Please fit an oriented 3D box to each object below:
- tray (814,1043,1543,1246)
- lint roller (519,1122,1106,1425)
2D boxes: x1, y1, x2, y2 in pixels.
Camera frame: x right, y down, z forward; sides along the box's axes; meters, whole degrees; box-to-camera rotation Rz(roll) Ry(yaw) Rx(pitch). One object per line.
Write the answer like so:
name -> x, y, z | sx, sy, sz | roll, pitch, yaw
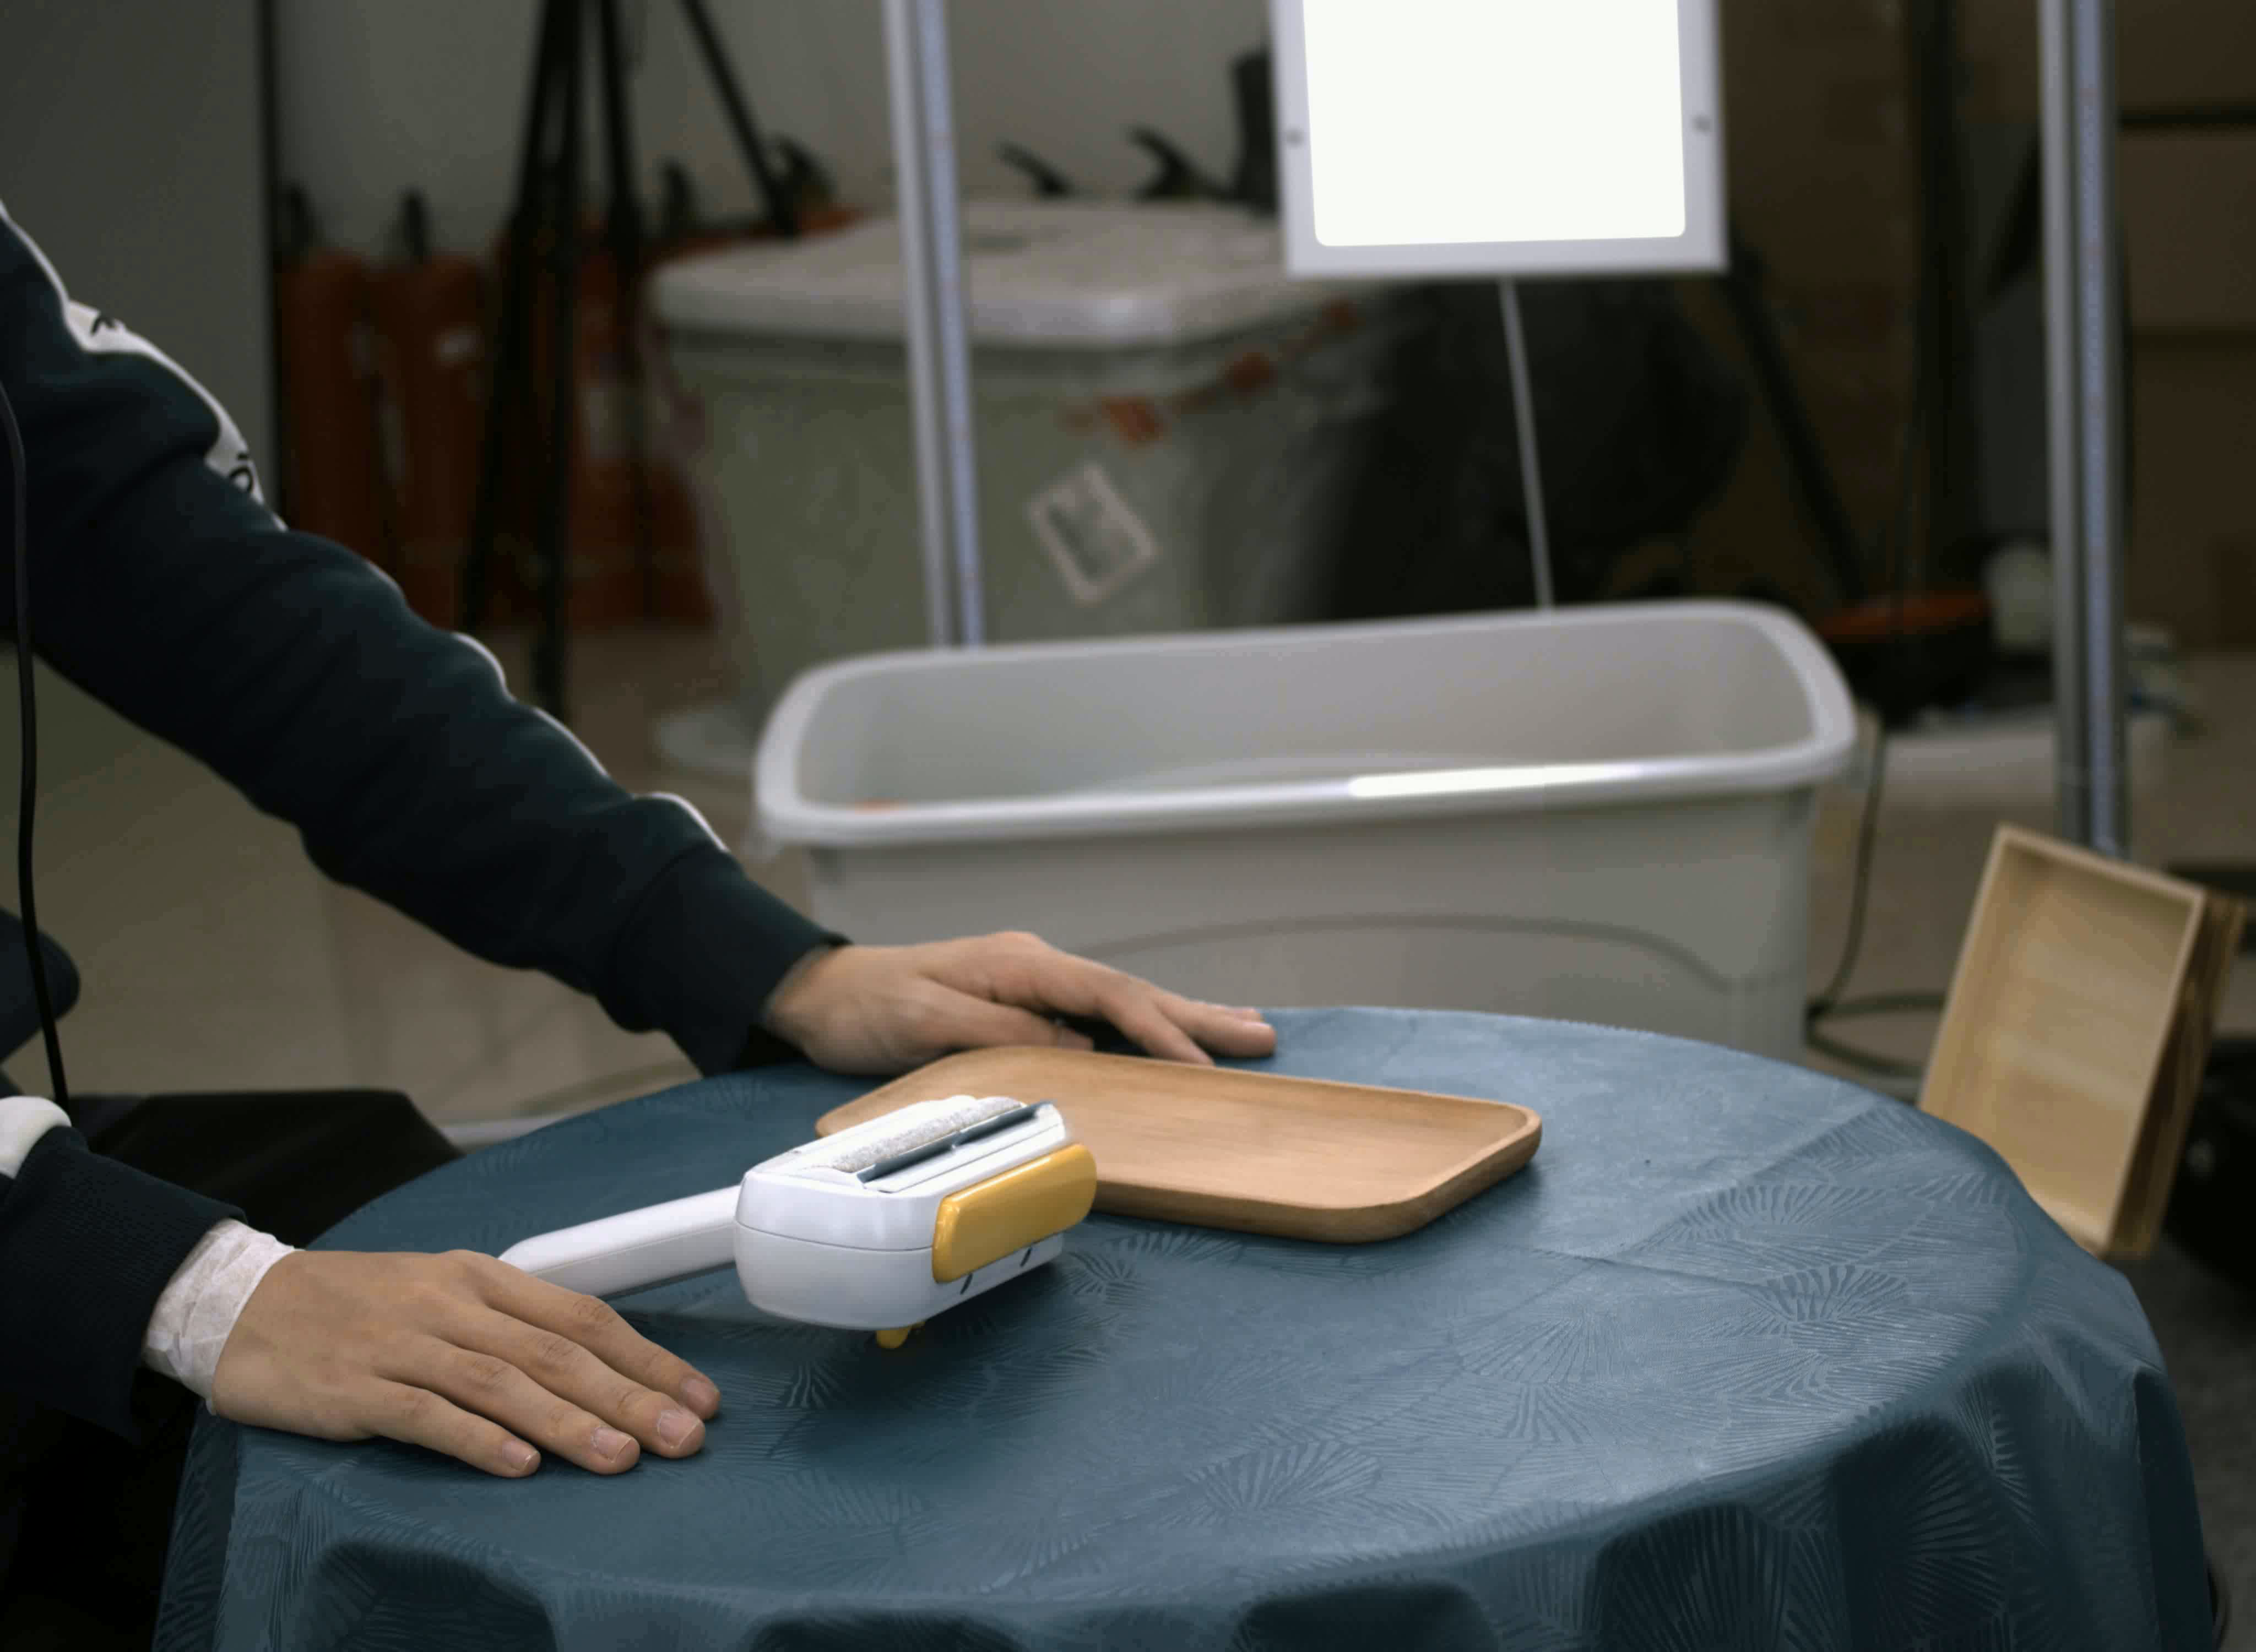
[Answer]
tray -> 0.016, 0.110, 1.923 | 0.256, 0.023, 0.127 | 5, 15, 37
lint roller -> -0.118, 0.149, 1.783 | 0.196, 0.074, 0.189 | -14, 2, 27
